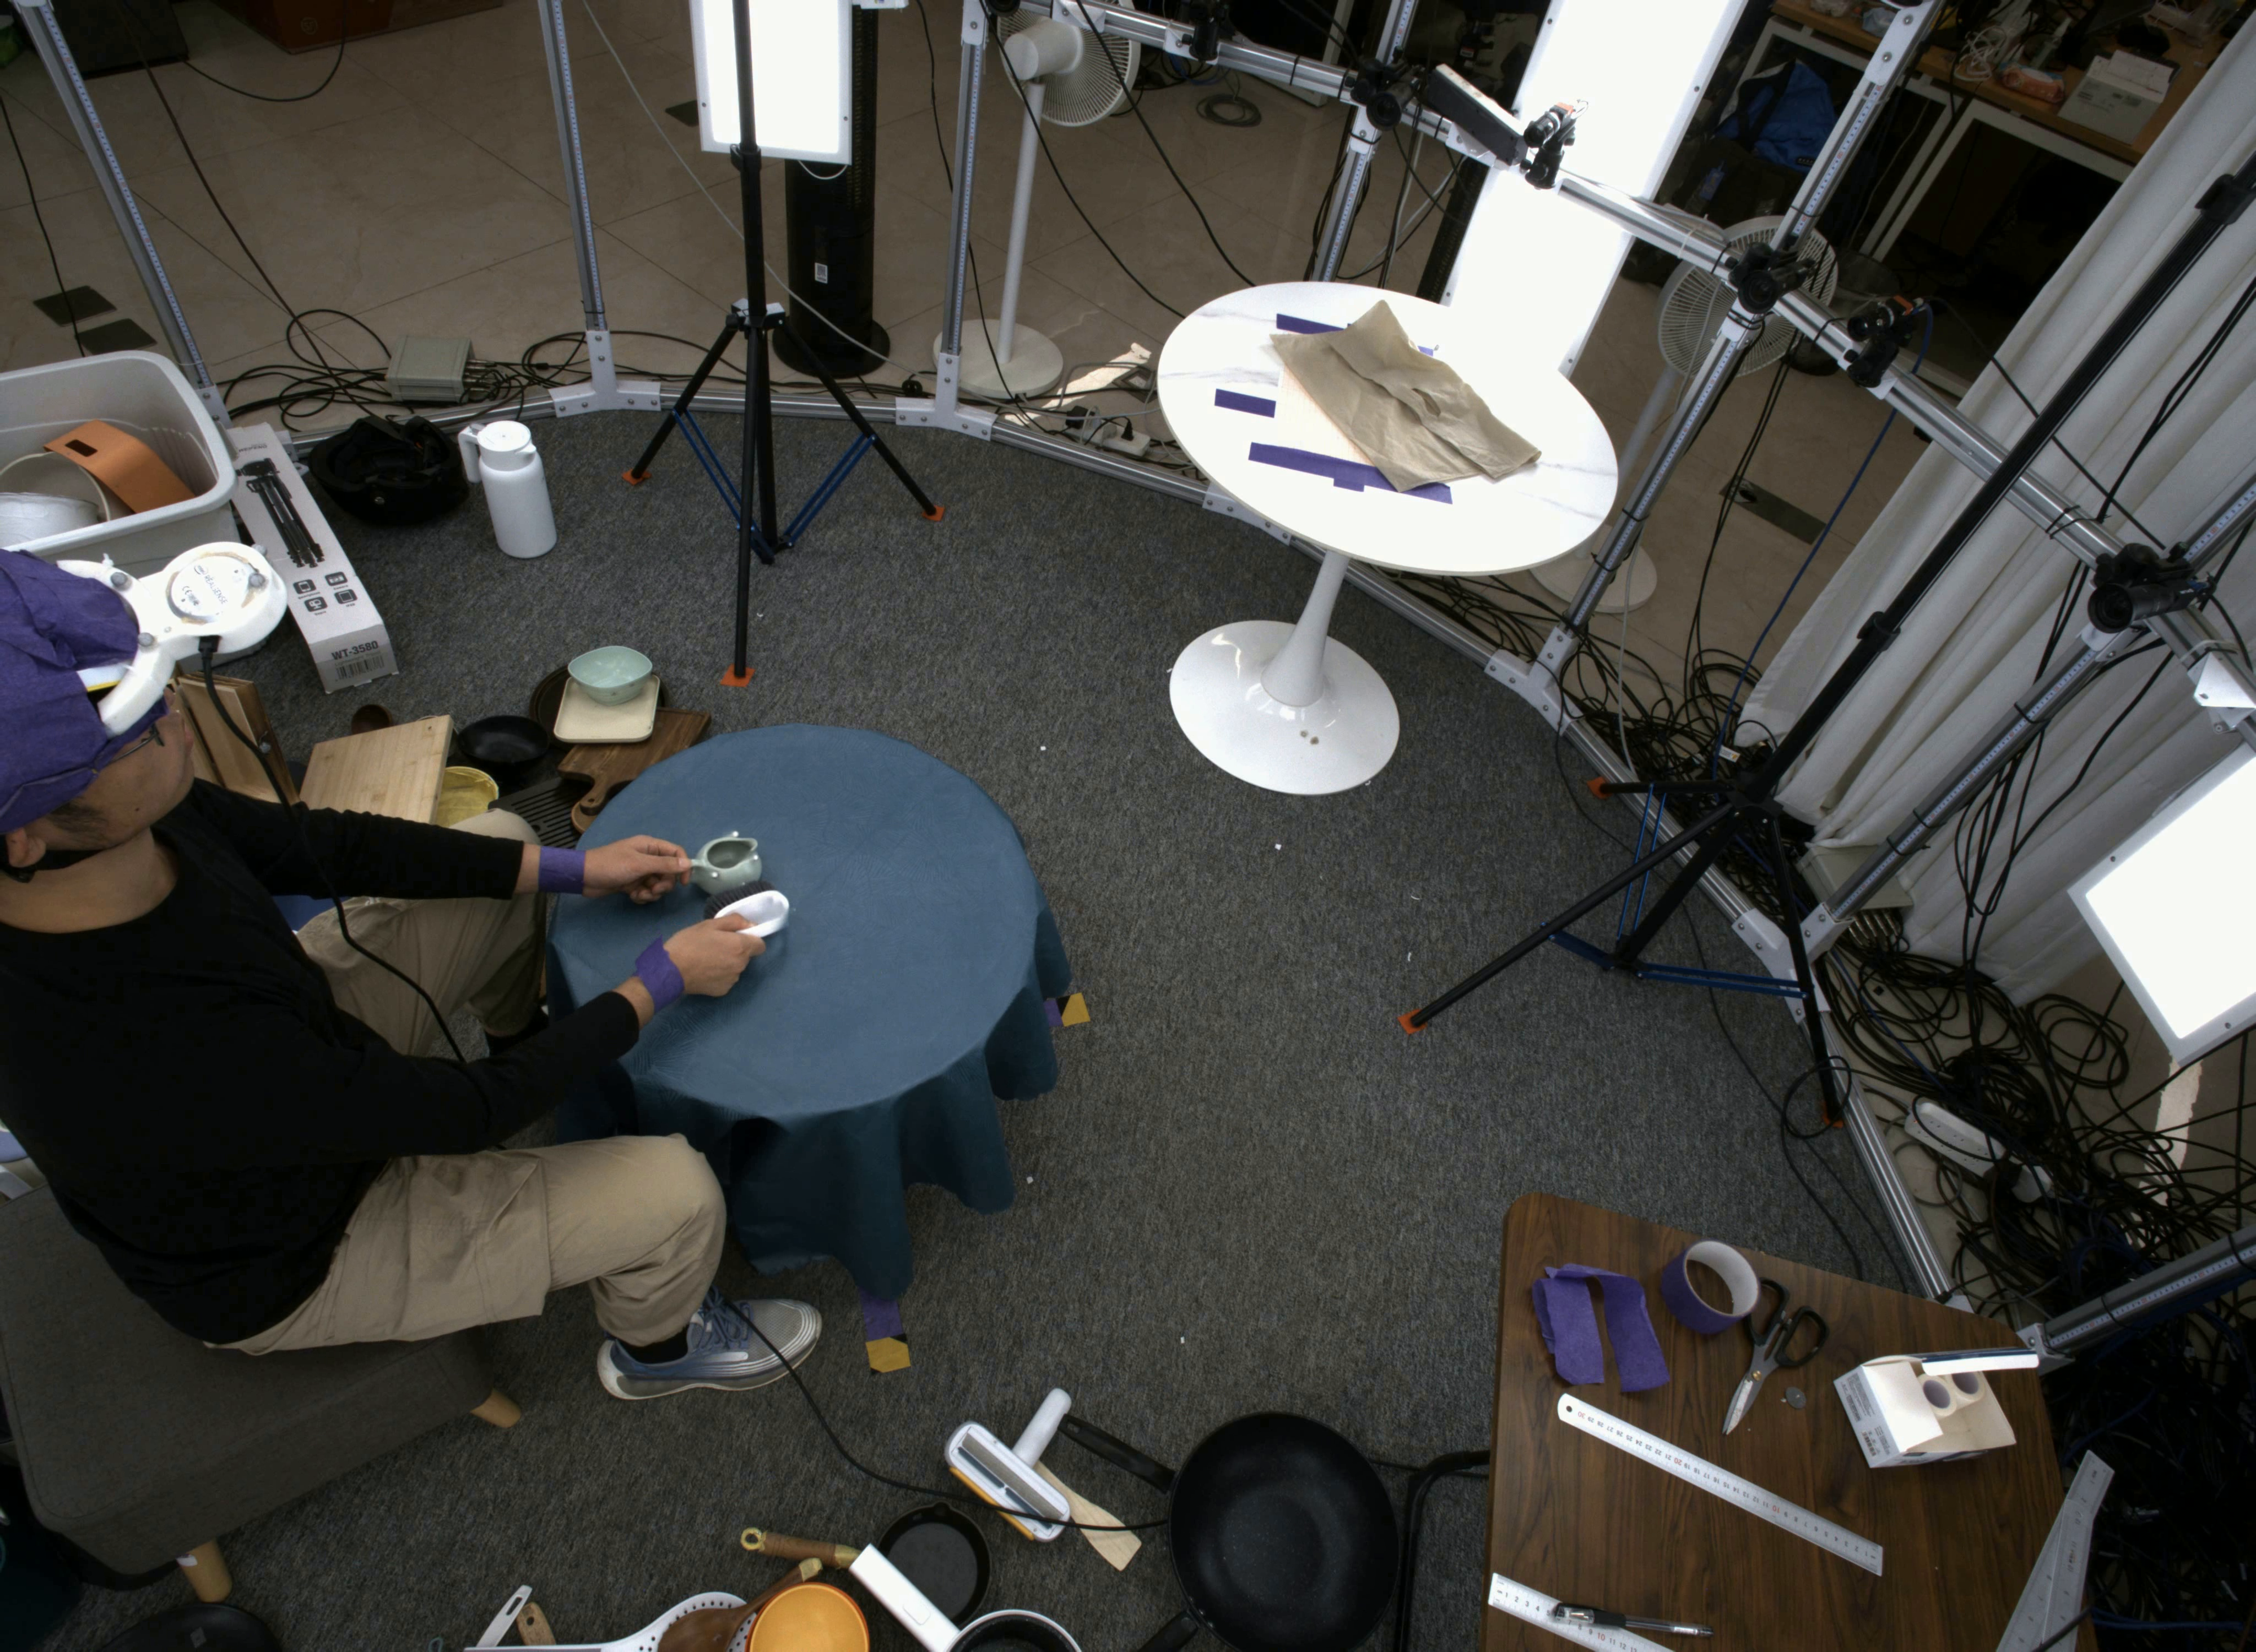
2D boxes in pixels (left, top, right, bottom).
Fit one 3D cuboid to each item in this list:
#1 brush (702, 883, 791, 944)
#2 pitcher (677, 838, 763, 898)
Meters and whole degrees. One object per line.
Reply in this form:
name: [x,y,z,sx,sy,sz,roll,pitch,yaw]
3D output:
brush: [-0.460,0.112,1.586,0.100,0.051,0.070,-19,41,-41]
pitcher: [-0.516,0.053,1.630,0.108,0.062,0.084,-25,62,-25]
